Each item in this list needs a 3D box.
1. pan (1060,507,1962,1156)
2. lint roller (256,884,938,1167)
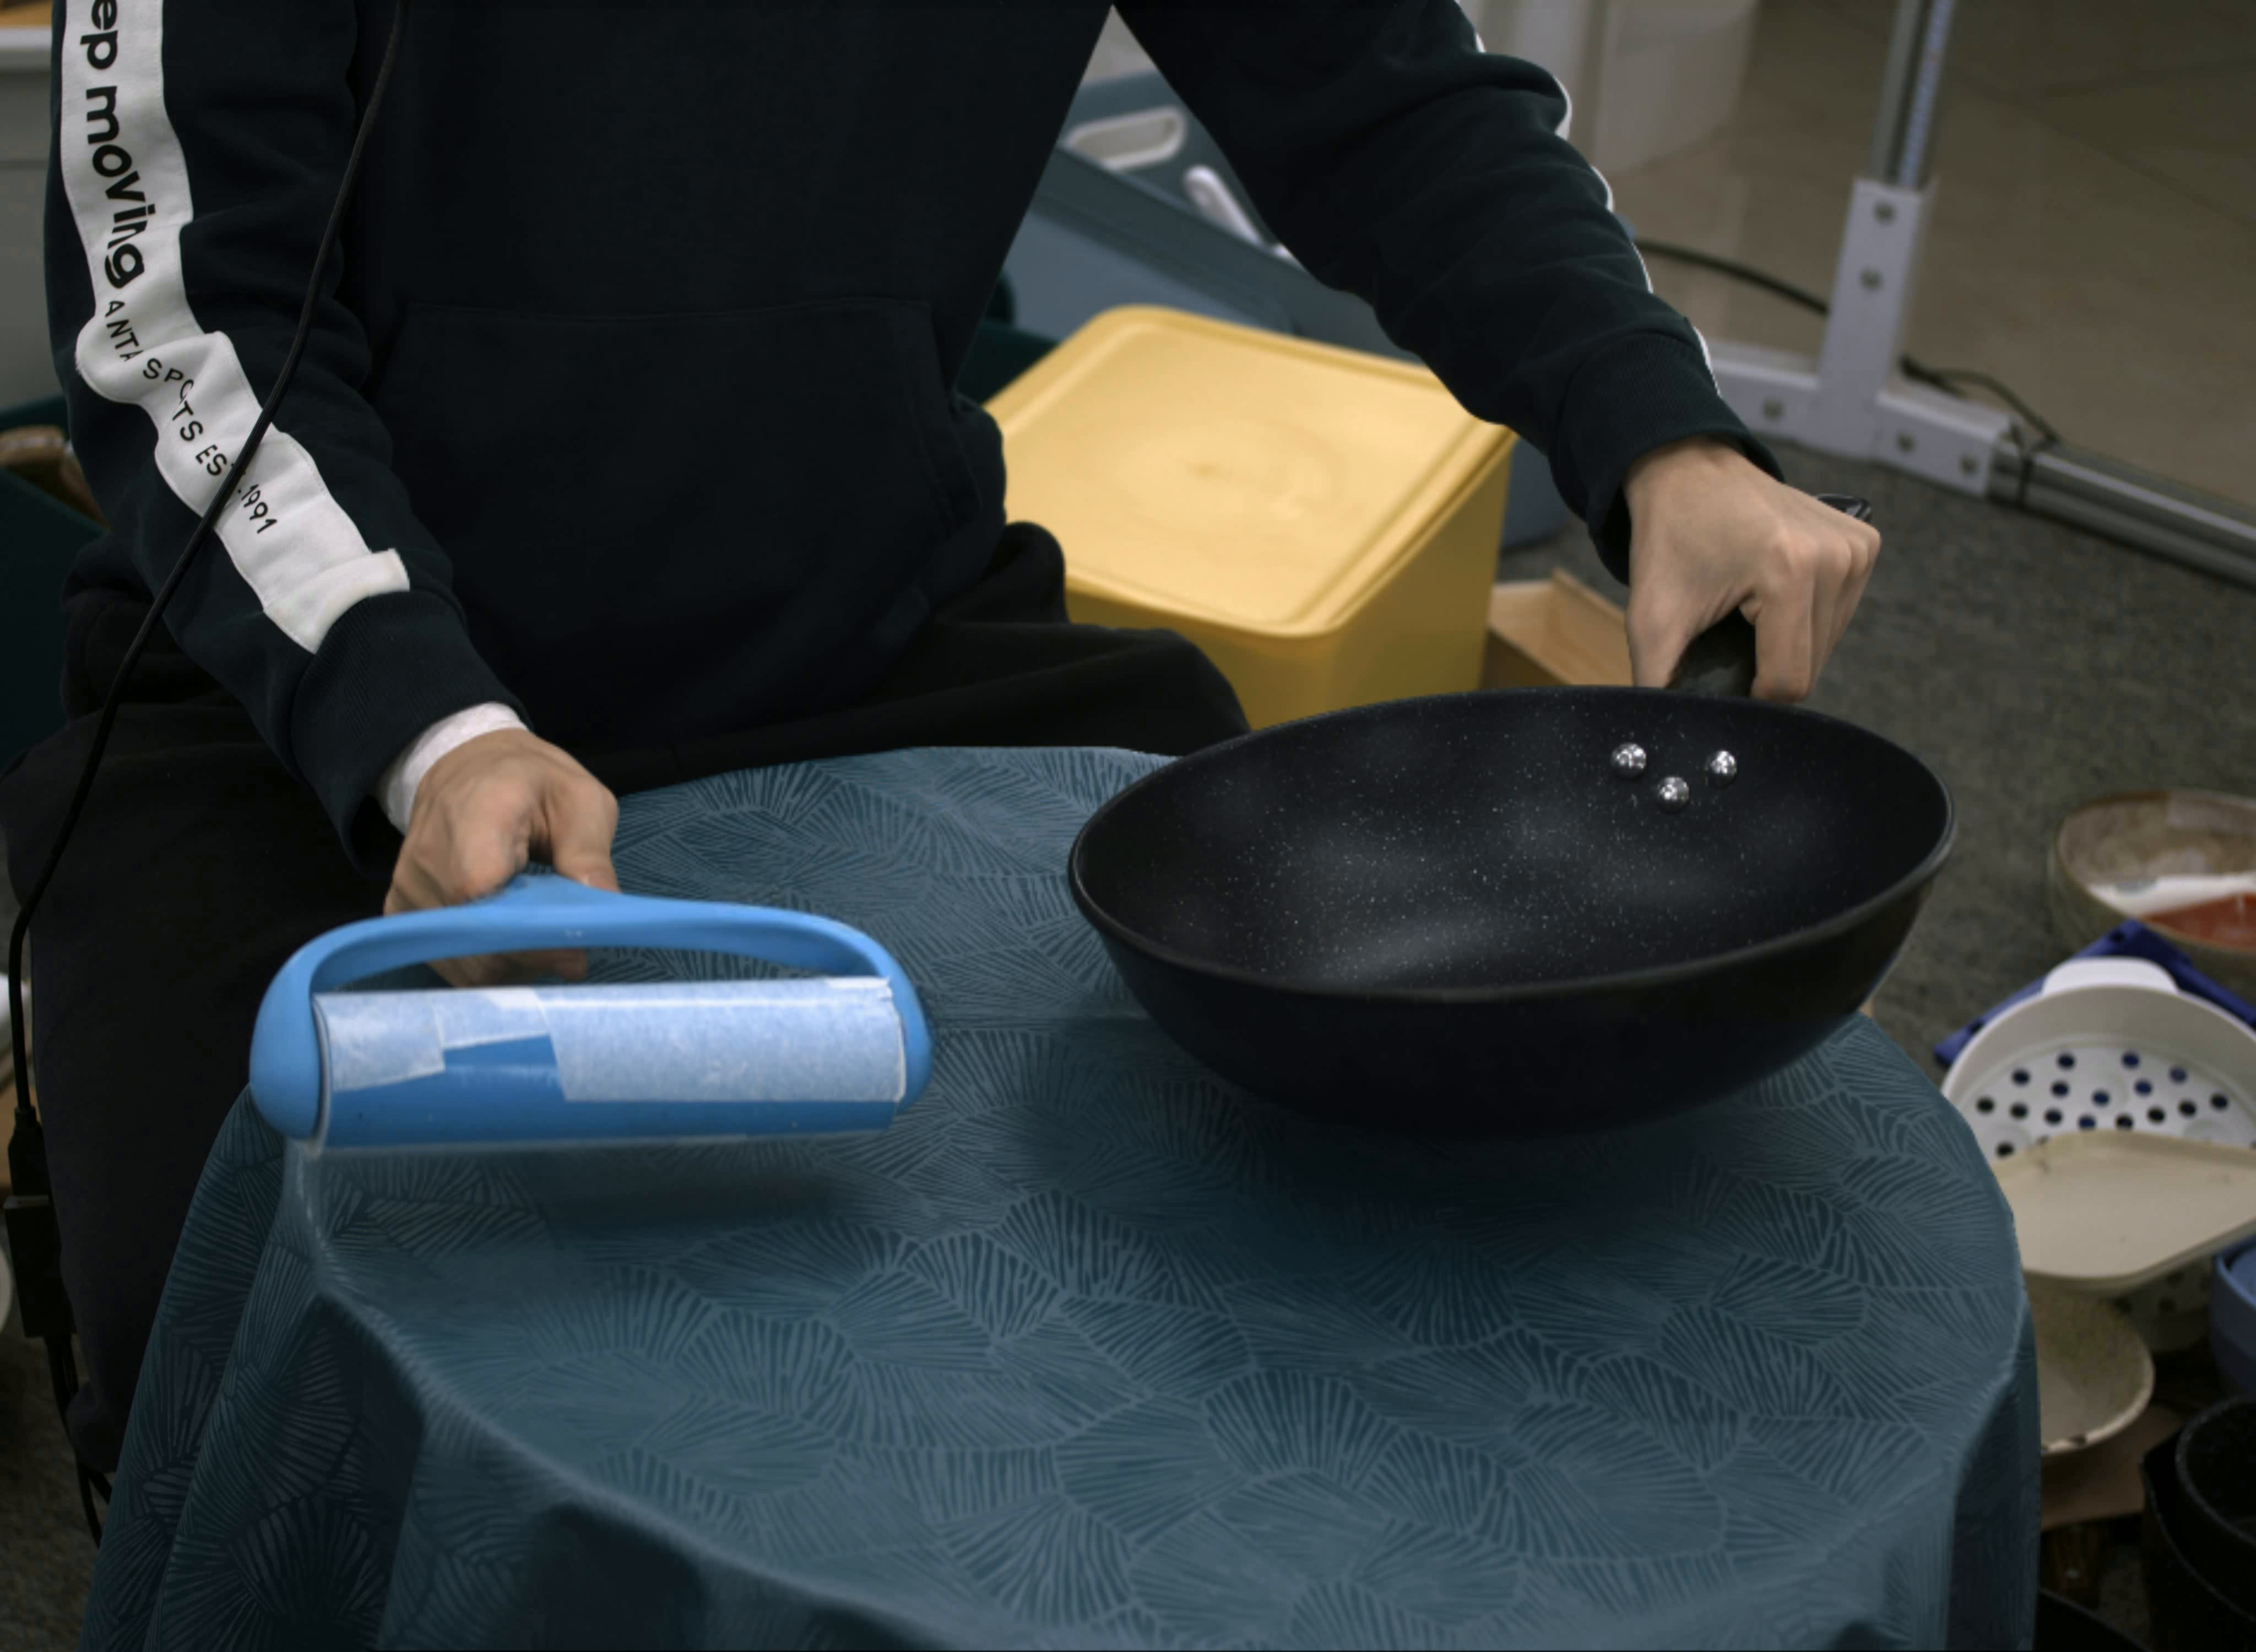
[{"bbox_3d":[0.172,0.004,1.911,0.311,0.111,0.476,6,22,28],"label":"pan"},{"bbox_3d":[-0.193,0.052,1.774,0.227,0.068,0.182,-4,27,-24],"label":"lint roller"}]
